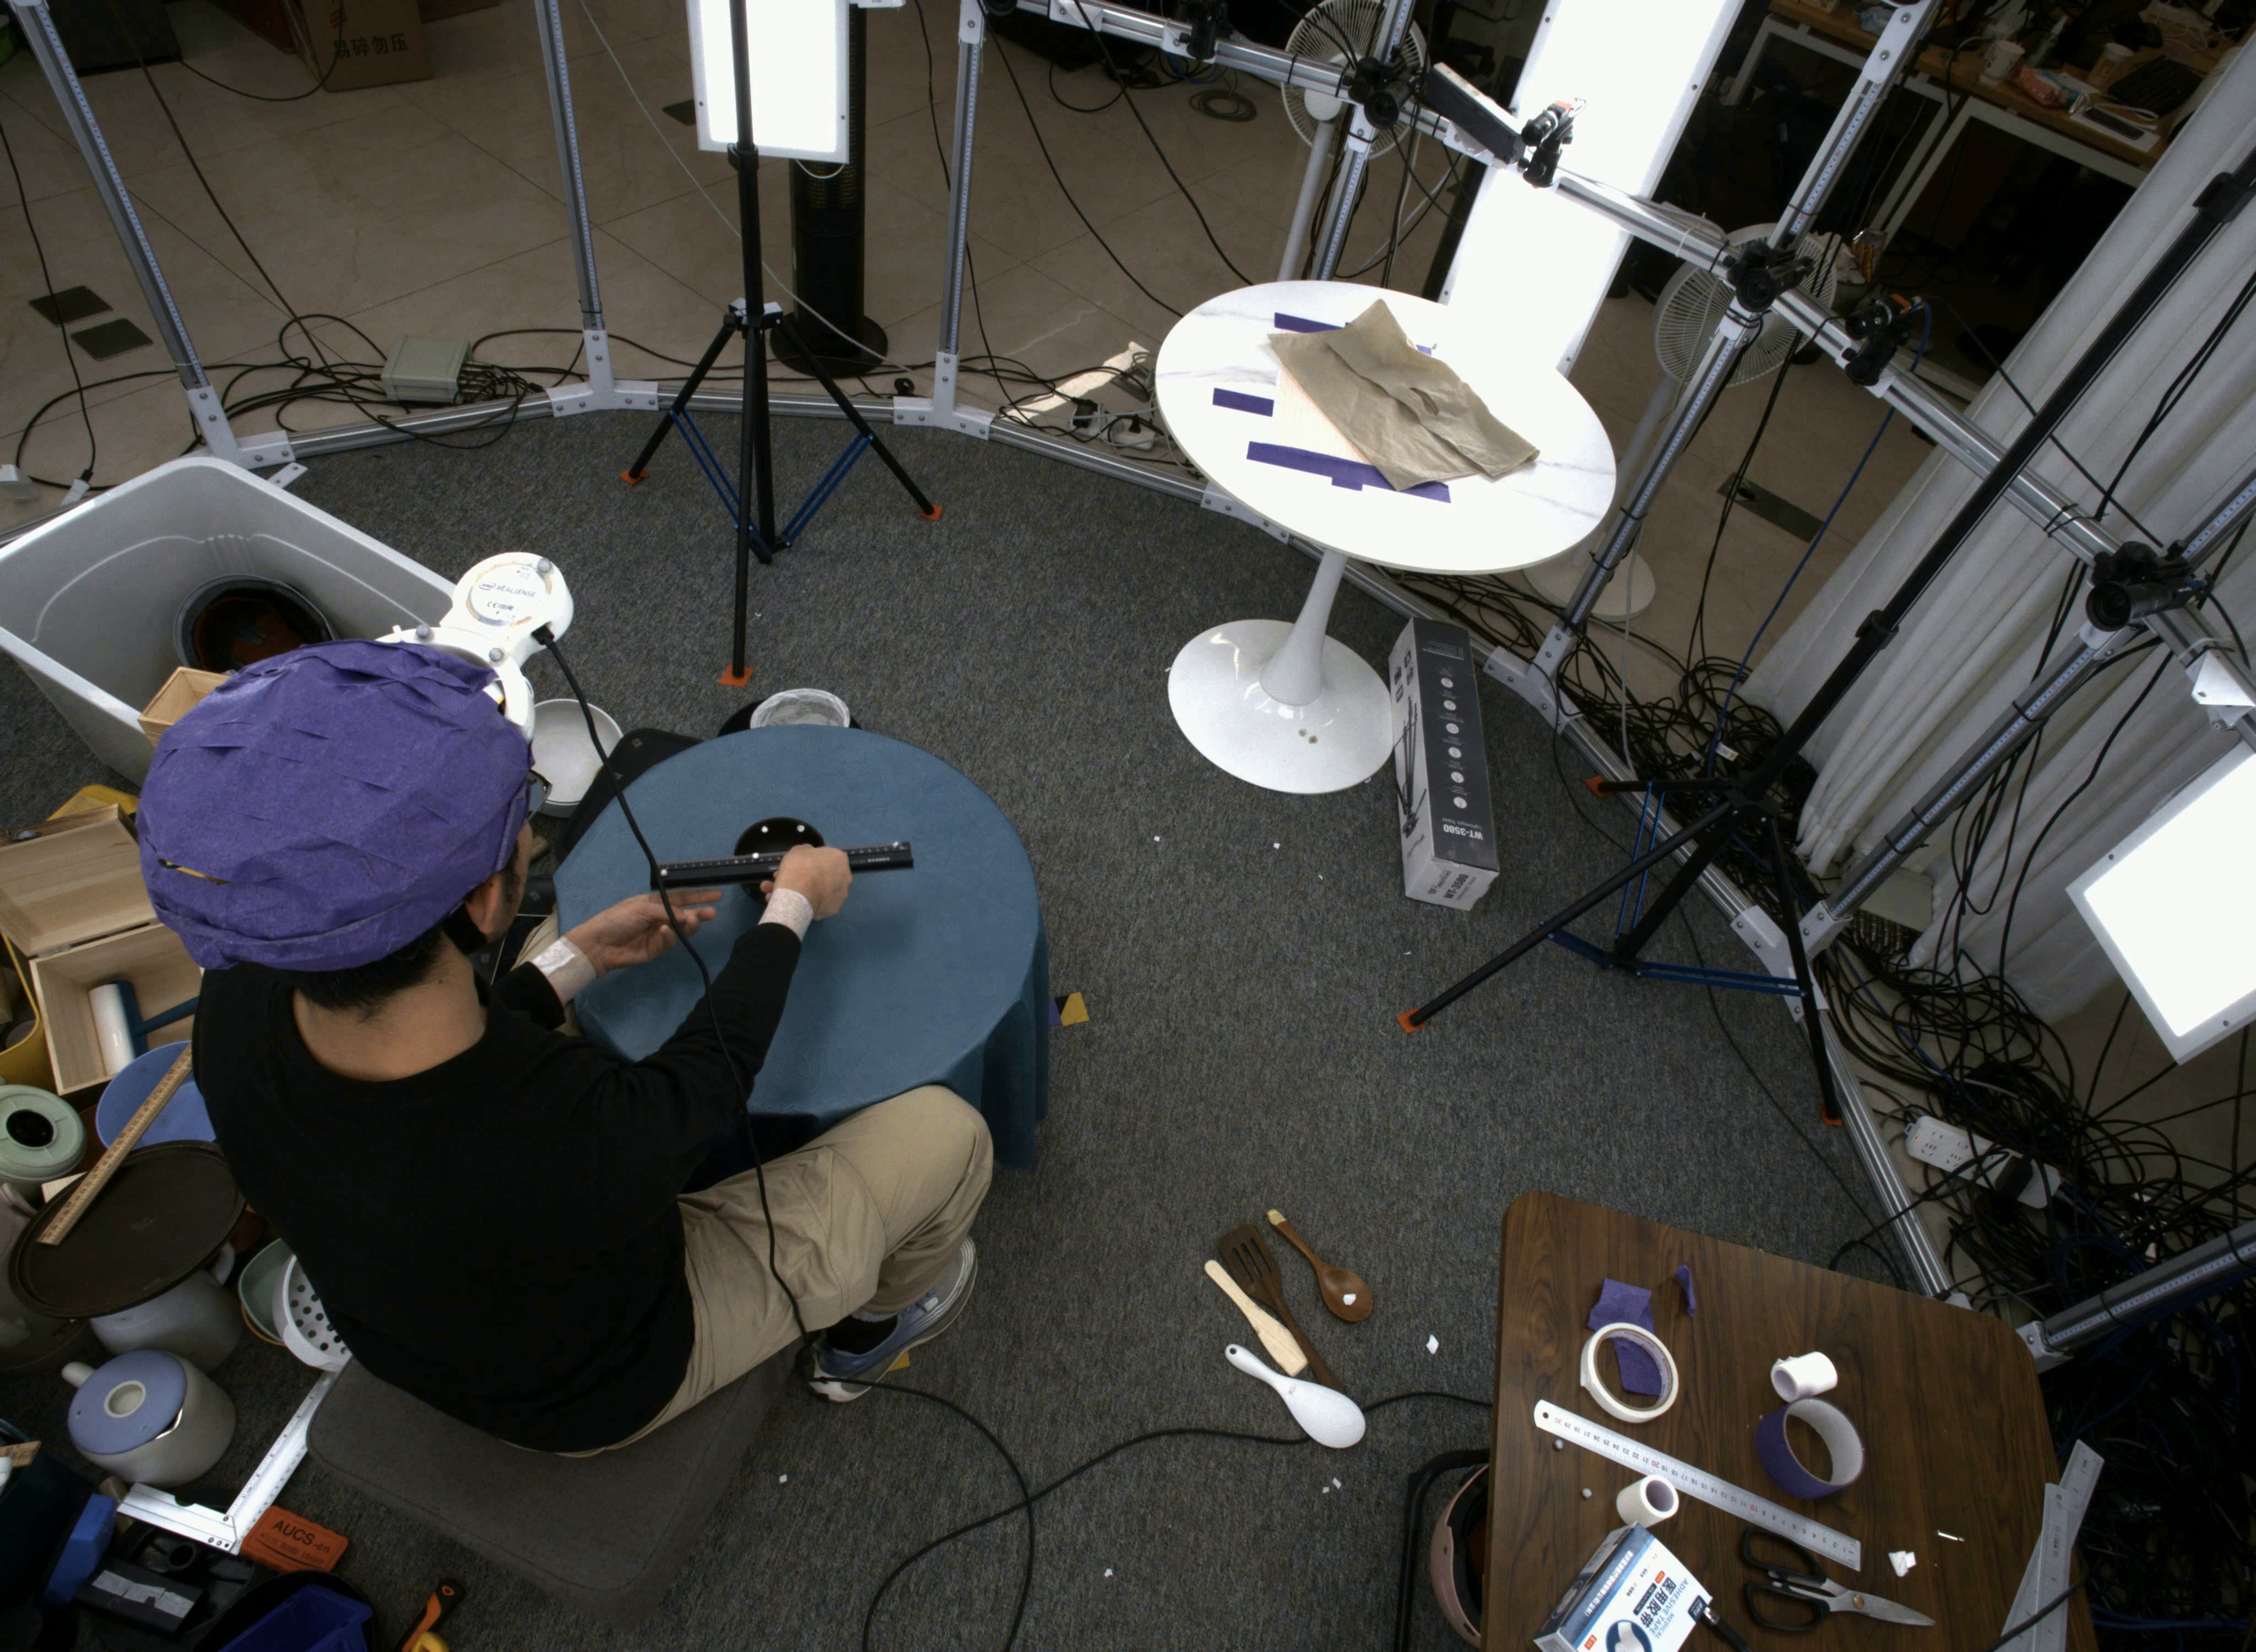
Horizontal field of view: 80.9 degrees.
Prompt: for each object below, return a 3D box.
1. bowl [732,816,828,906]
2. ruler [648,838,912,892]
[{"bbox_3d":[-0.436,0.051,1.625,0.118,0.071,0.115,9,45,-7],"label":"bowl"},{"bbox_3d":[-0.417,0.041,1.558,0.313,0.017,0.038,-6,62,-18],"label":"ruler"}]
